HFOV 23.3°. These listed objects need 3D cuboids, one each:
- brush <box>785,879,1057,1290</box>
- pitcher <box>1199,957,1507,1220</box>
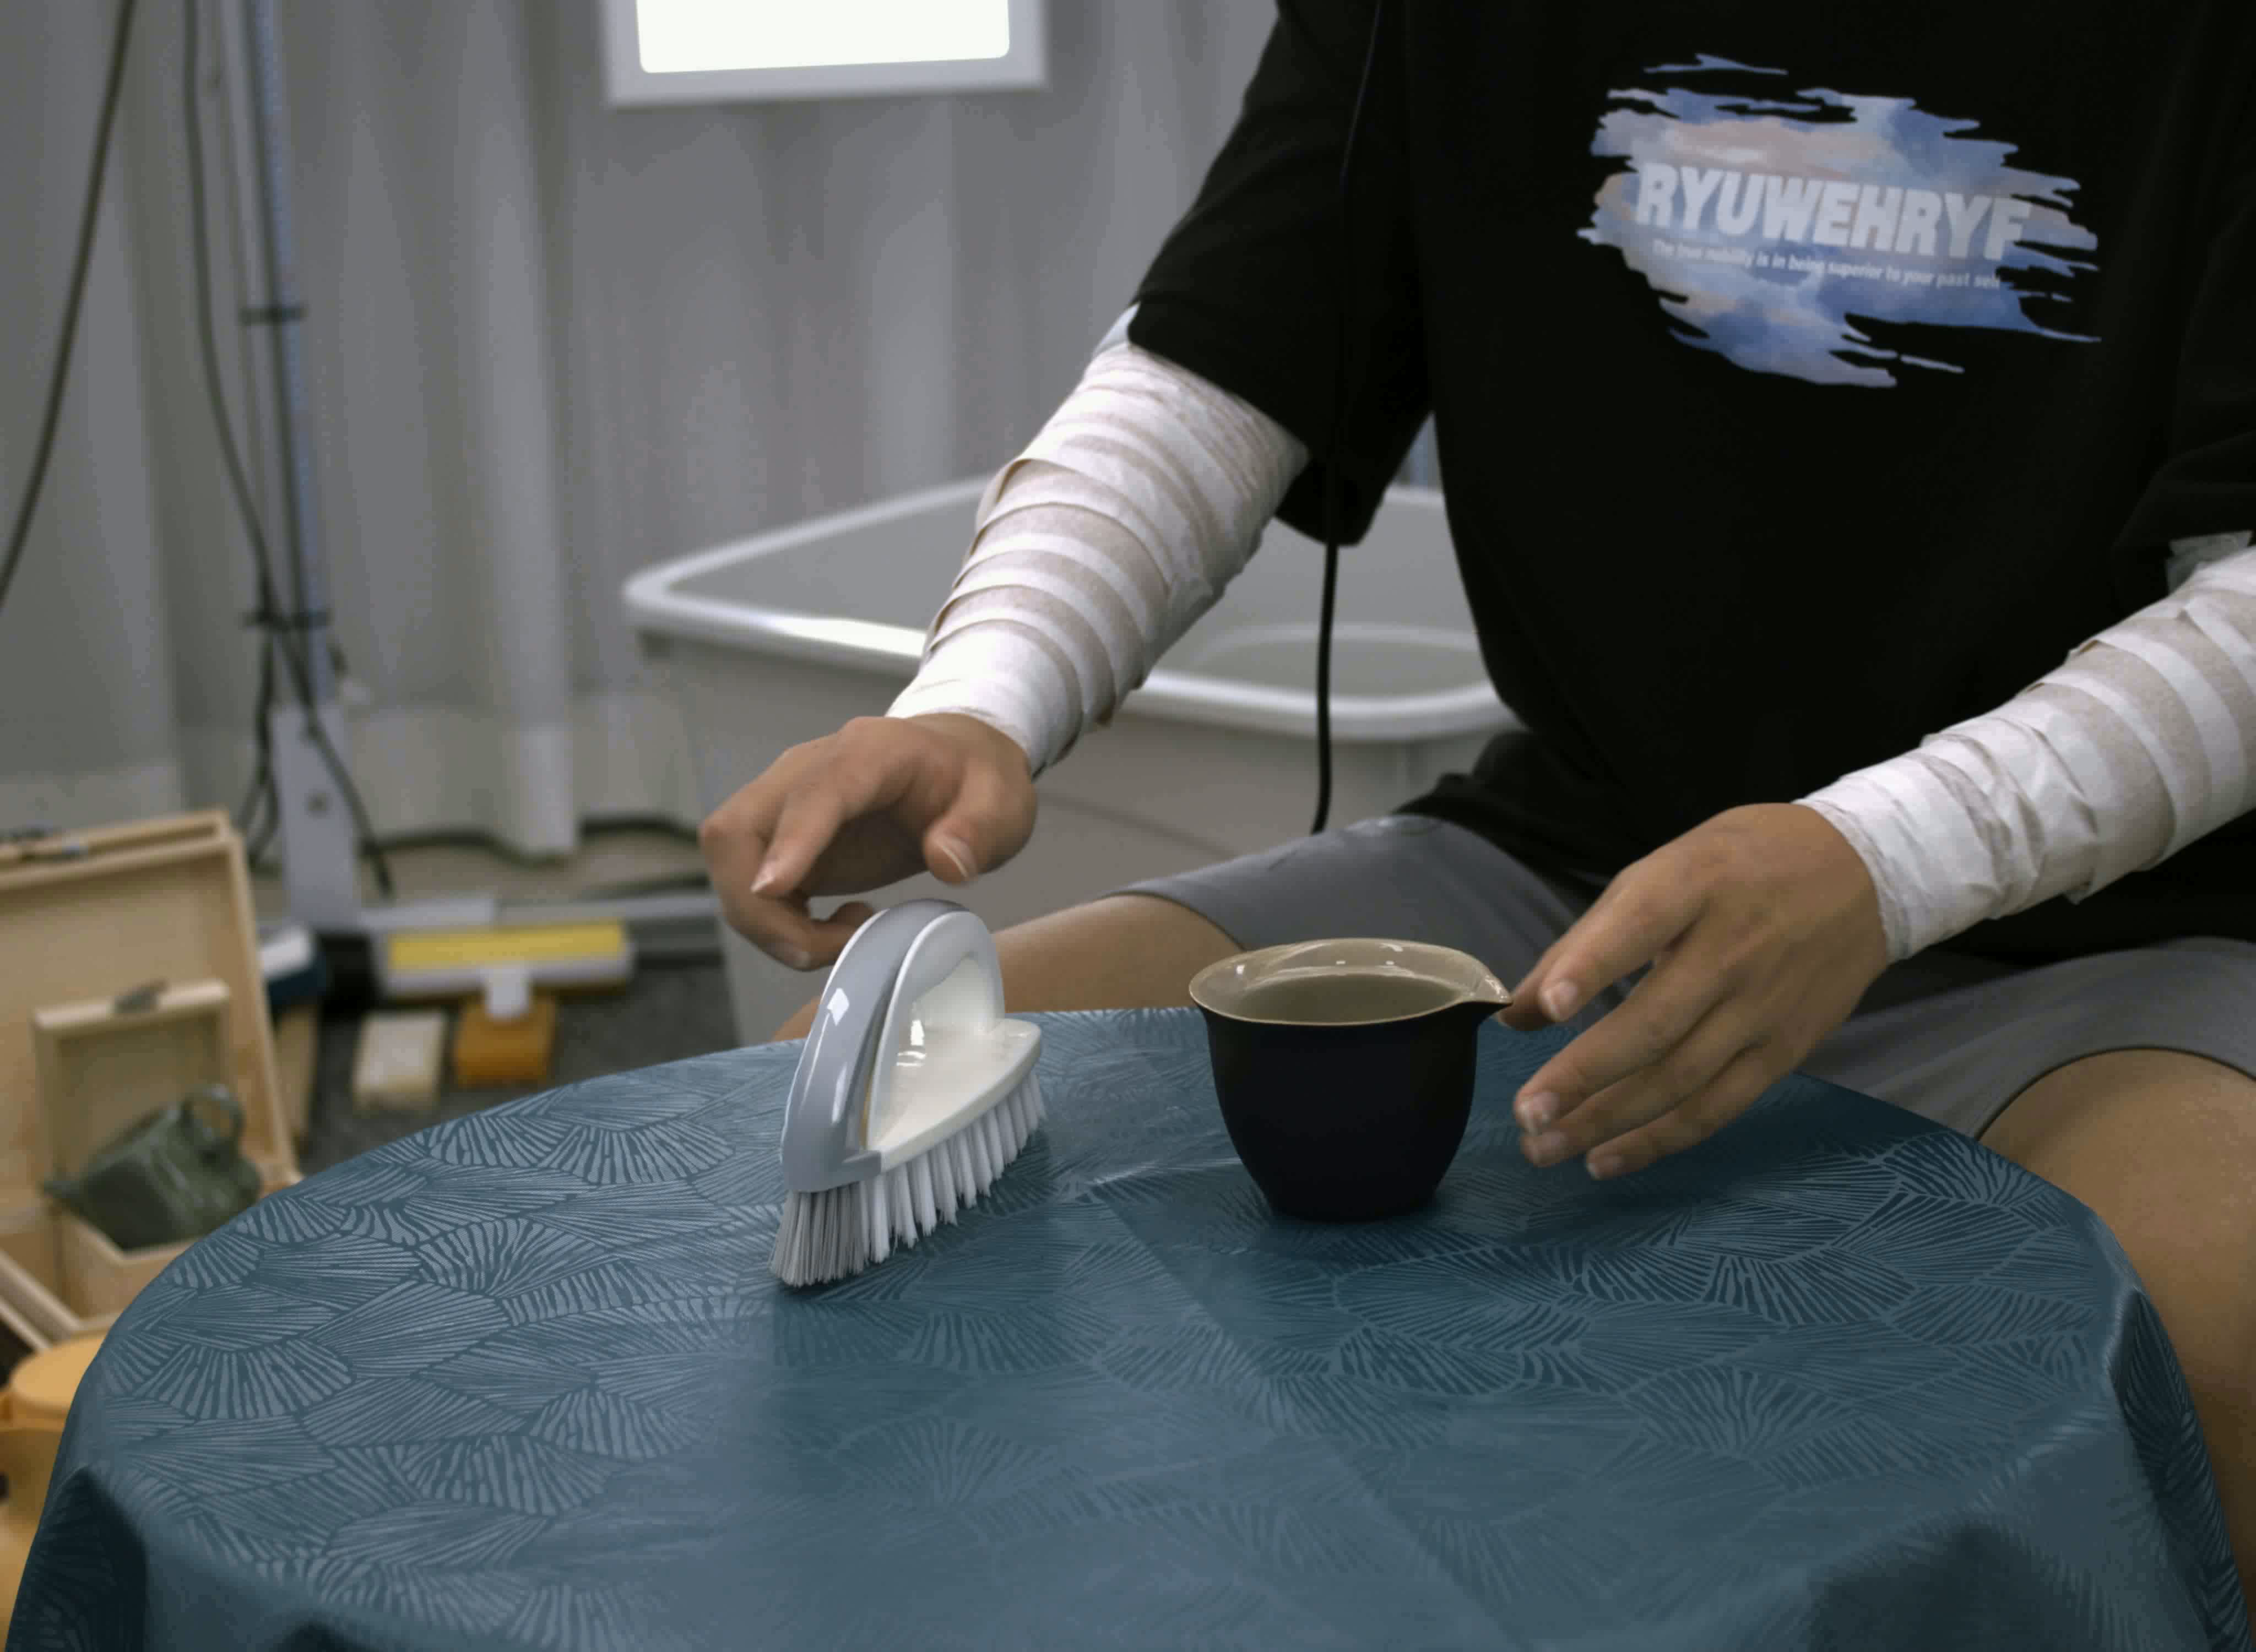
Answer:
[{"bbox_3d":[-0.073,0.074,1.701,0.061,0.094,0.176,-1,17,17],"label":"brush"},{"bbox_3d":[0.069,0.081,1.686,0.096,0.071,0.084,5,15,18],"label":"pitcher"}]
